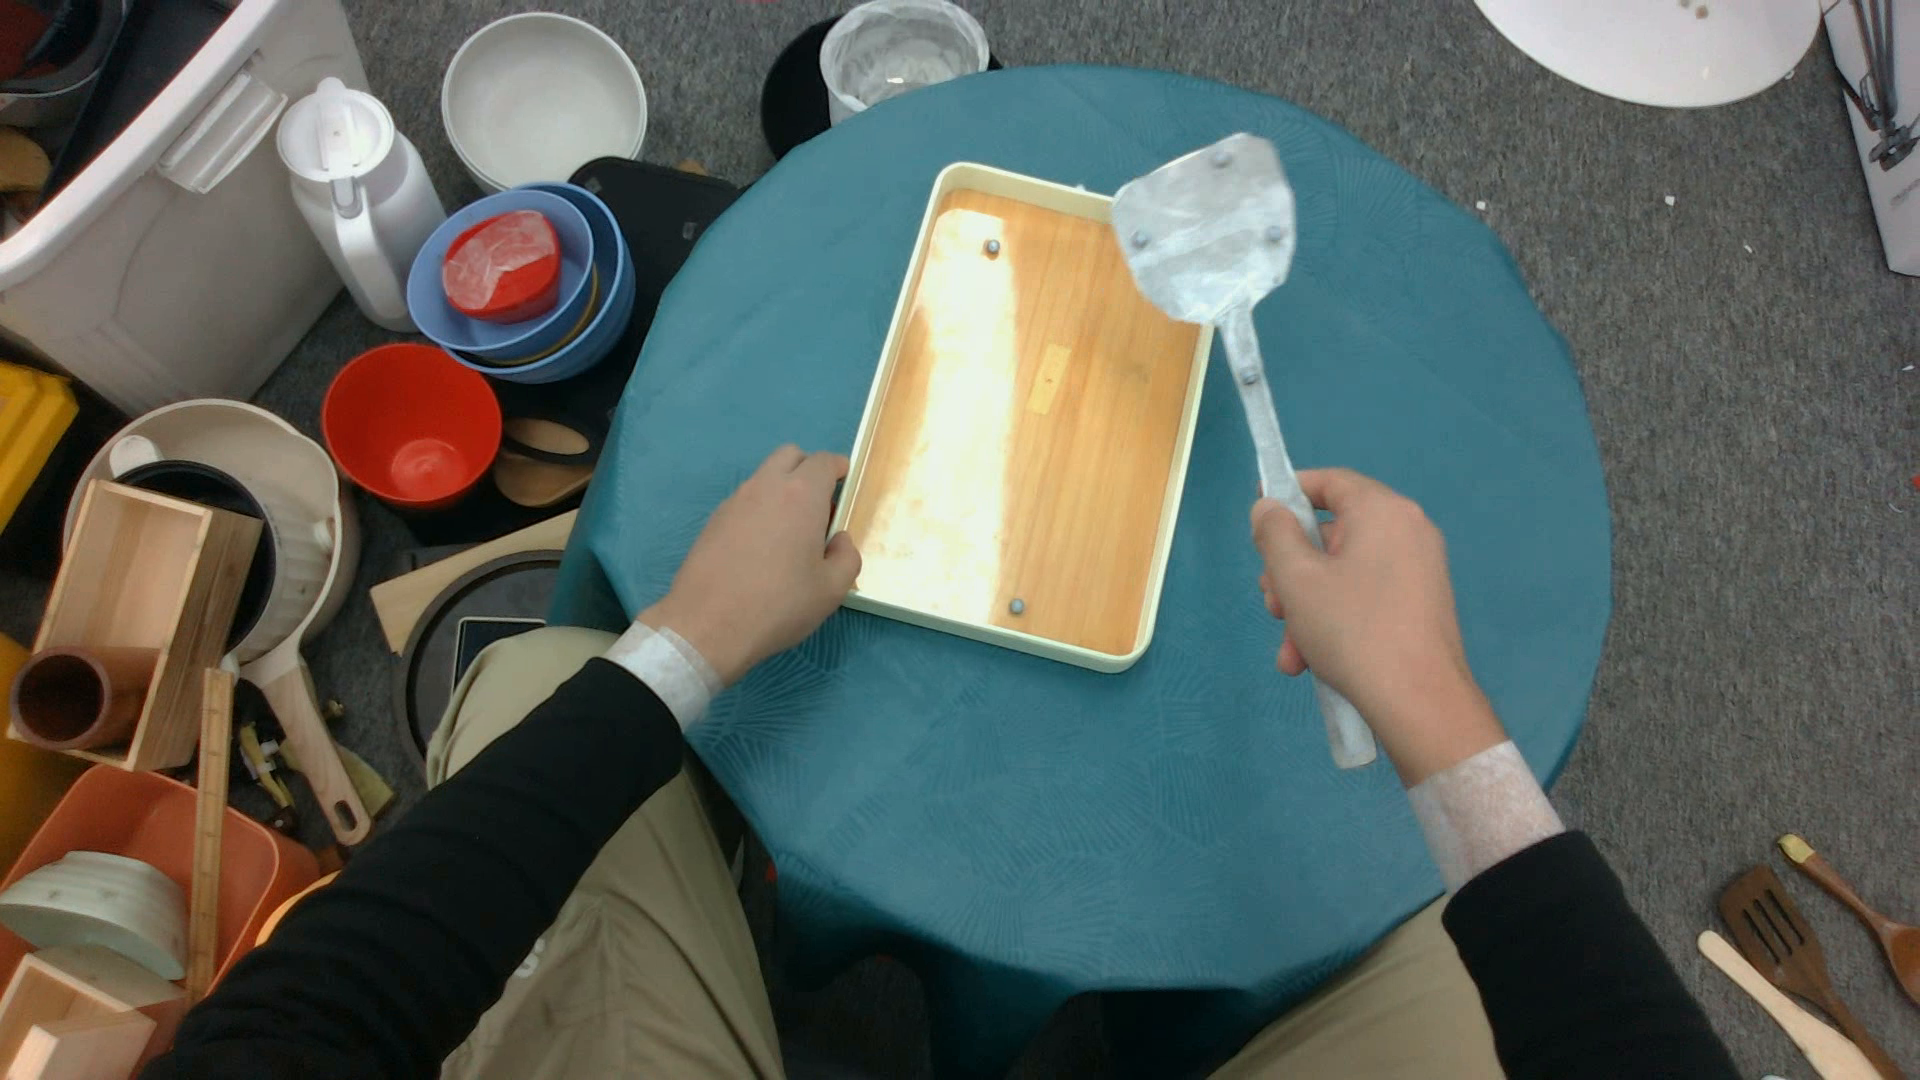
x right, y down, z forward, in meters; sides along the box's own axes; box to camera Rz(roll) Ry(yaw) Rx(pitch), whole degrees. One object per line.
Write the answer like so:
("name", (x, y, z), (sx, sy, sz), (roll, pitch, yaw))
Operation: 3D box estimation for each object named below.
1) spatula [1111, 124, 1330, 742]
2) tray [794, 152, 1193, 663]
("spatula", (0.143, -0.073, 0.688), (0.098, 0.044, 0.366), (-9, 53, 8))
("tray", (0.029, -0.087, 0.823), (0.191, 0.027, 0.301), (15, 67, 0))
